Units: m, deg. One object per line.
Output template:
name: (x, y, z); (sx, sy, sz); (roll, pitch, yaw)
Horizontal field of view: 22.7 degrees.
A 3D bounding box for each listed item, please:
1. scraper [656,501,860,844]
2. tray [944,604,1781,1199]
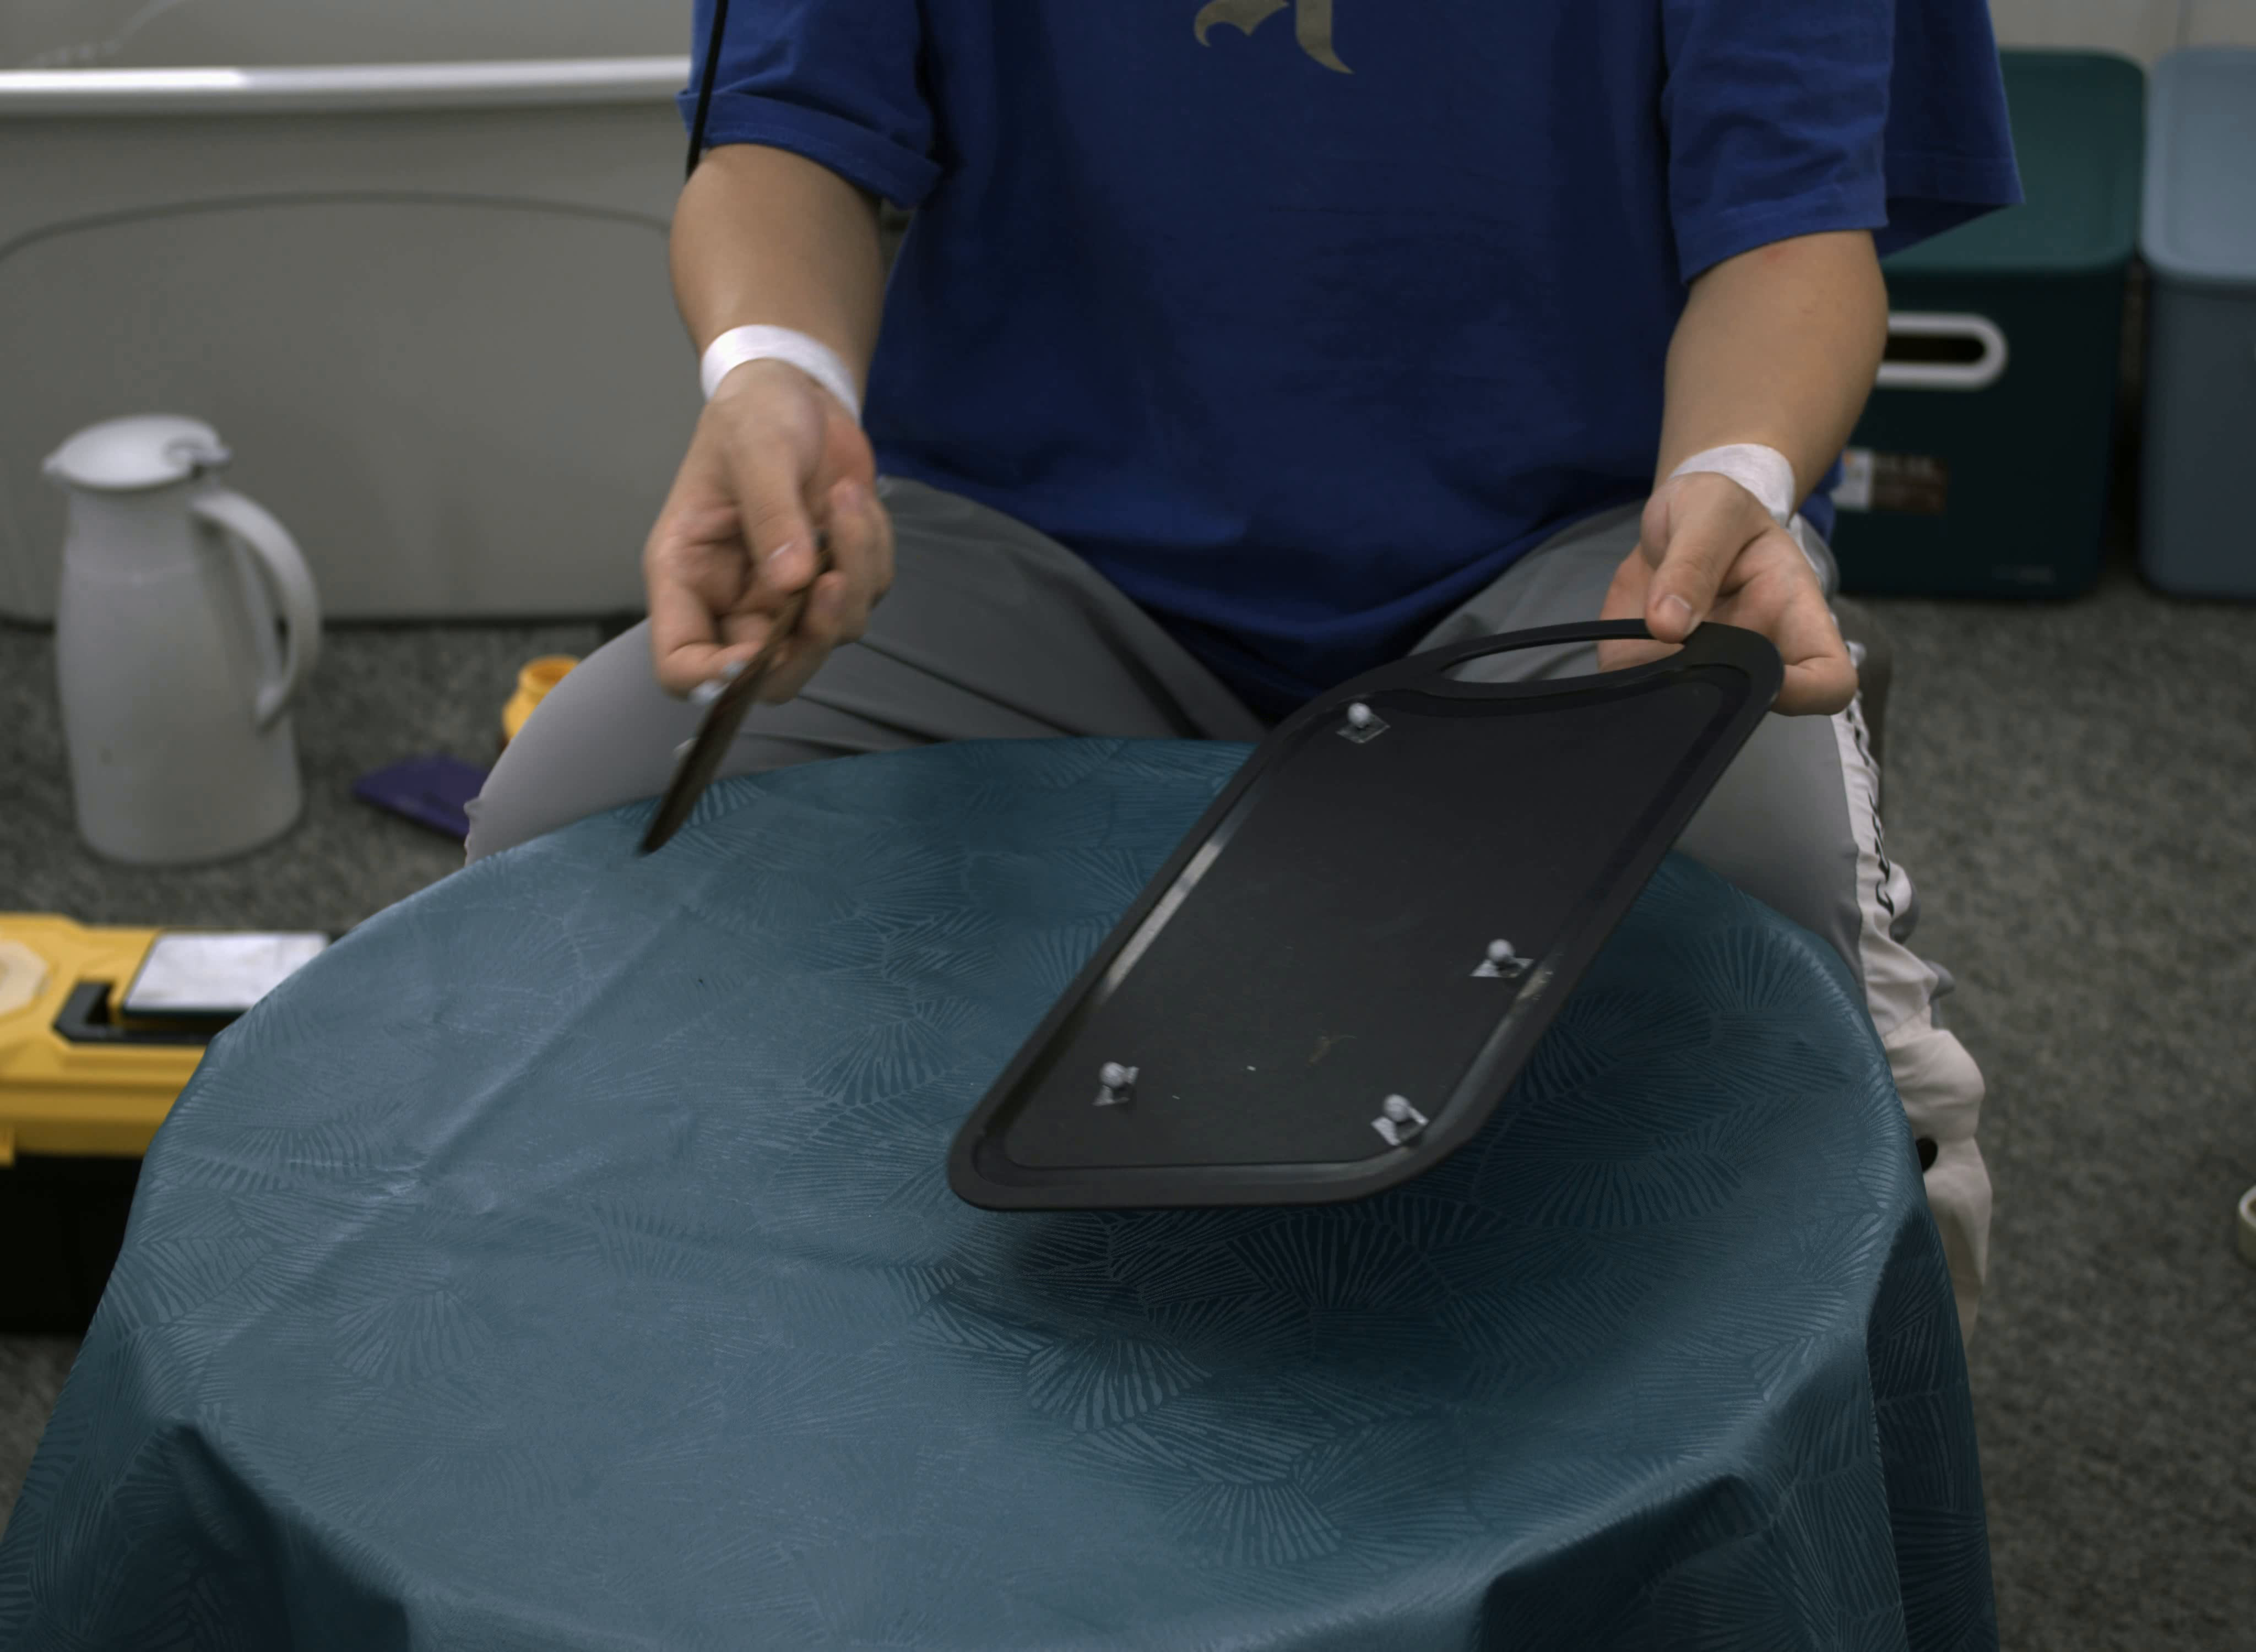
scraper: (-0.121, -0.063, 1.947); (0.011, 0.075, 0.215); (27, 27, -3)
tray: (0.082, 0.018, 1.849); (0.209, 0.010, 0.331); (-4, 33, 38)
